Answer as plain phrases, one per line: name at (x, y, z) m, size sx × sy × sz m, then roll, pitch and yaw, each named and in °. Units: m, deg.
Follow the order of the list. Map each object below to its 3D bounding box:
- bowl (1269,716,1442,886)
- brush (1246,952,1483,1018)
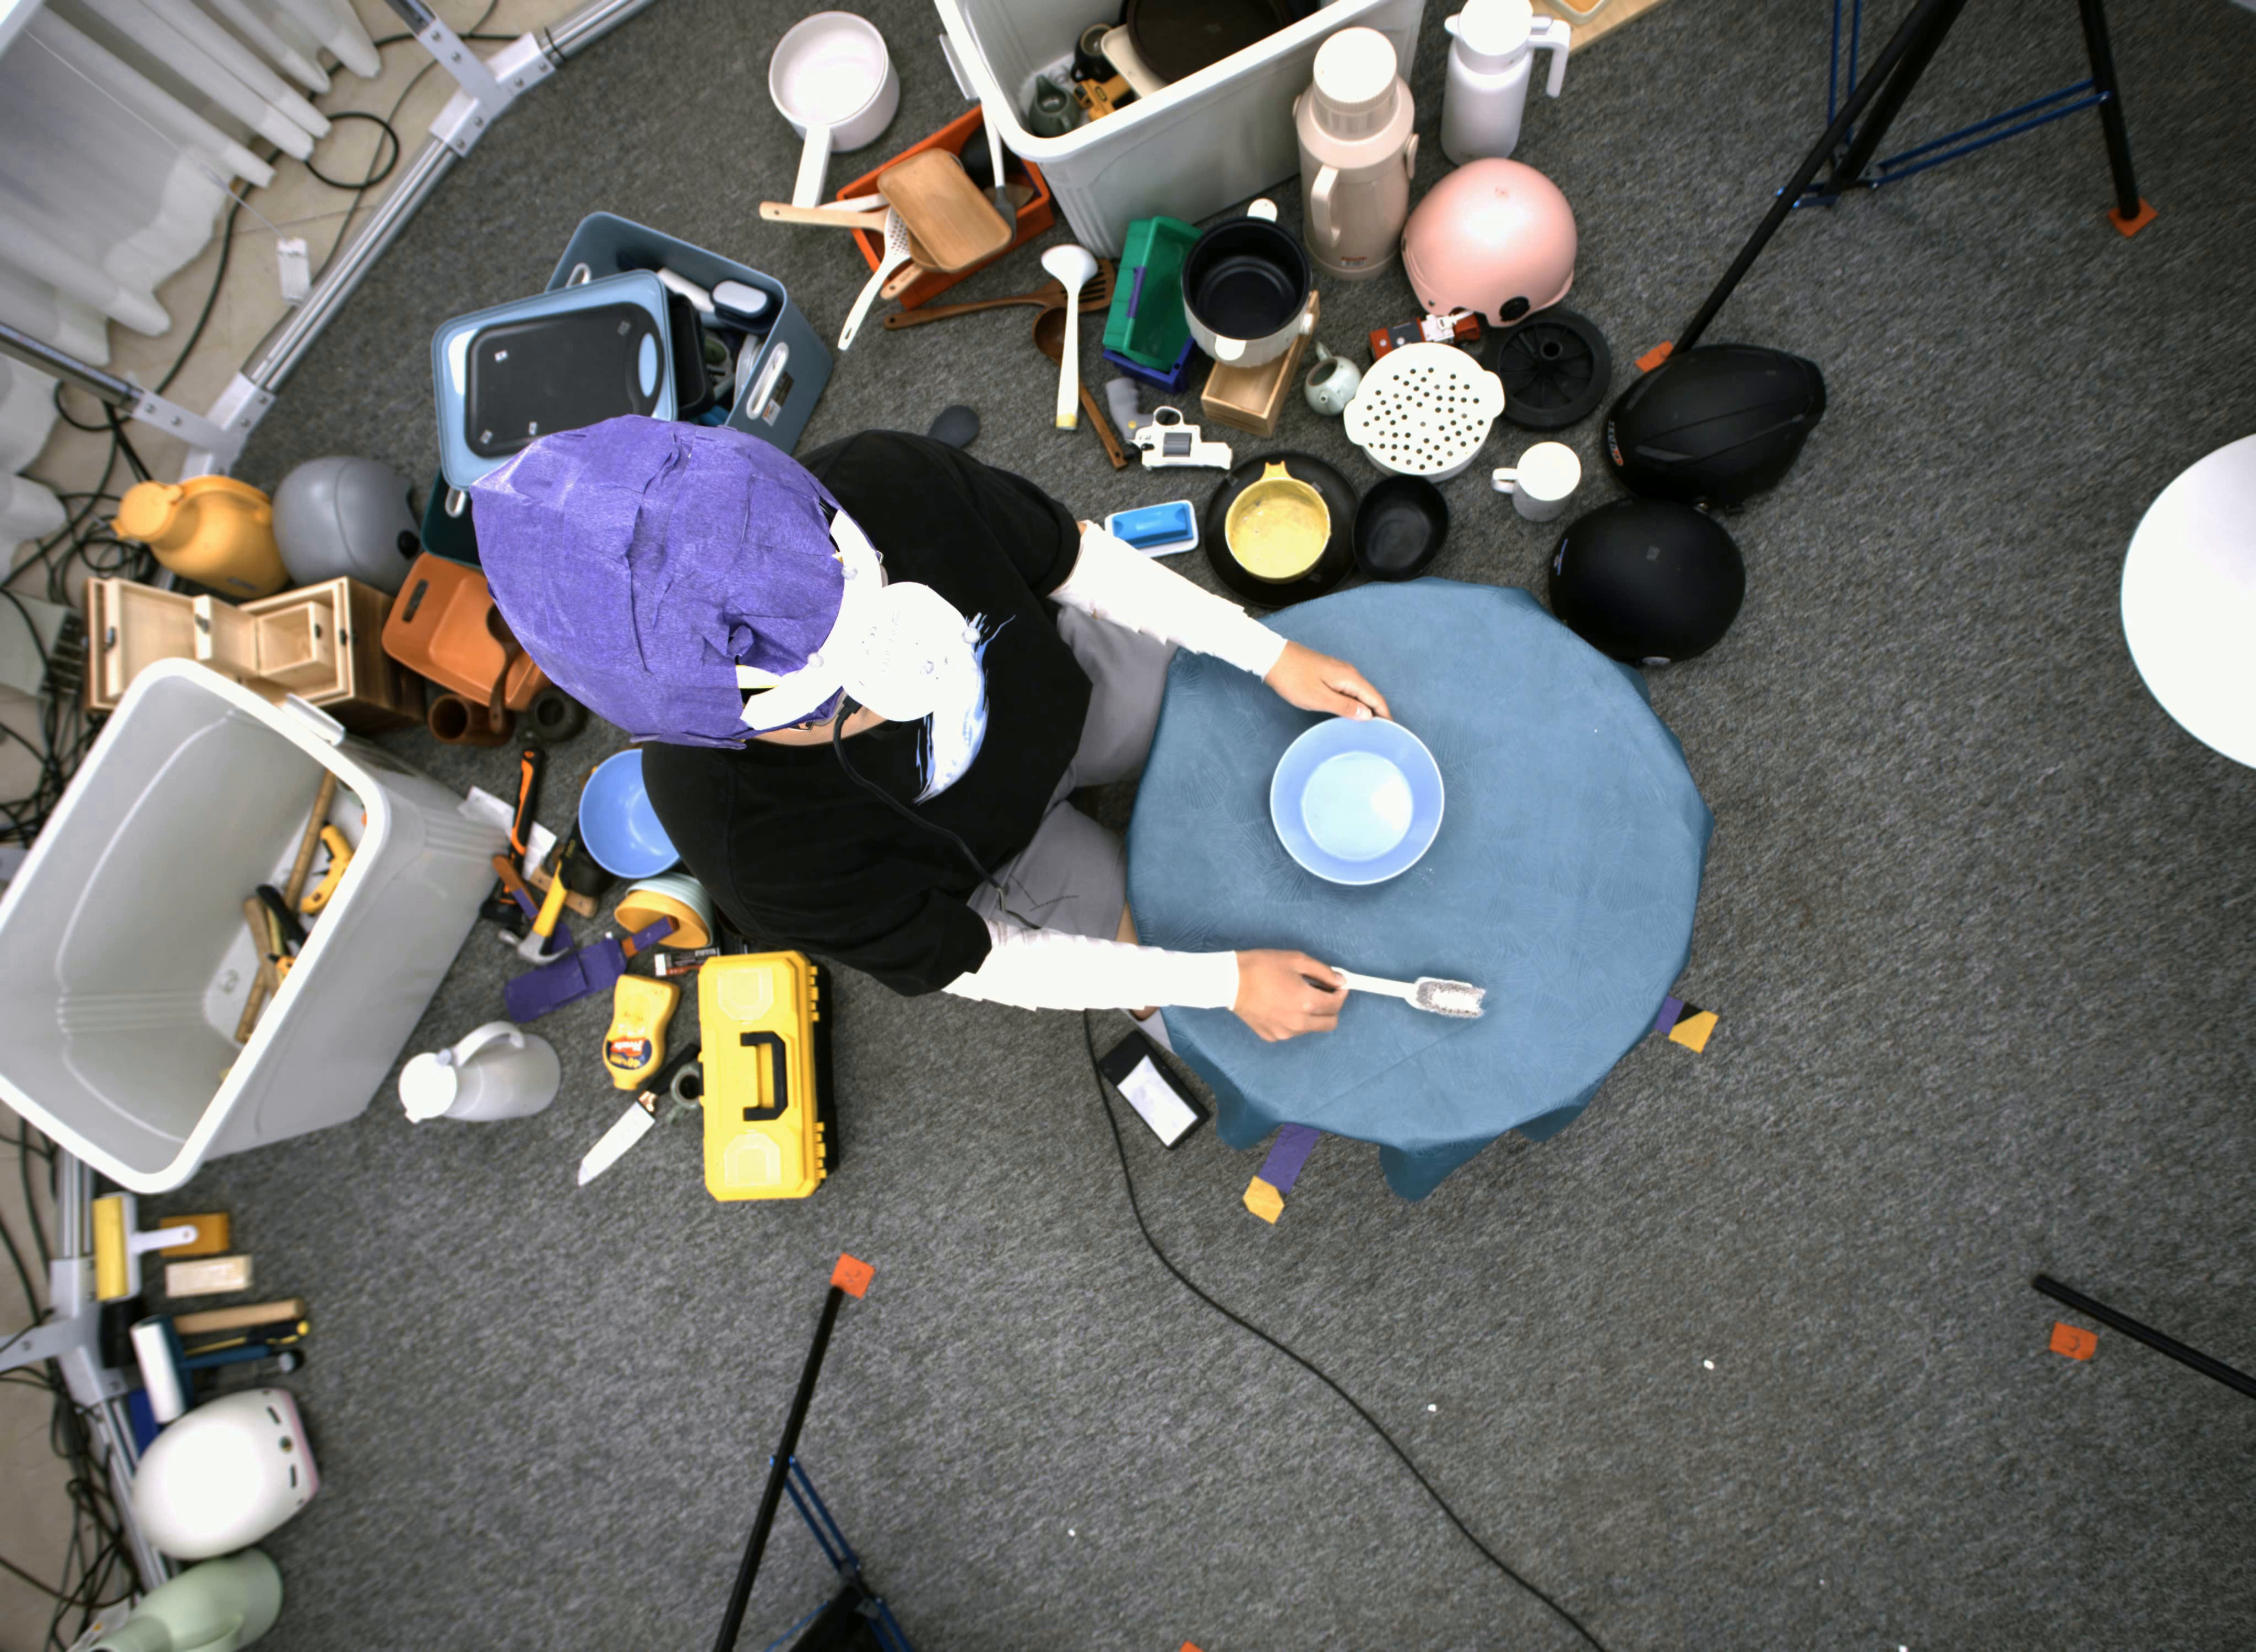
bowl at (0.237, -0.024, 1.434) m, size 0.177 × 0.070 × 0.175 m, roll -1°, pitch 86°, yaw 11°
brush at (0.242, 0.160, 1.424) m, size 0.244 × 0.050 × 0.034 m, roll 10°, pitch 87°, yaw 6°
